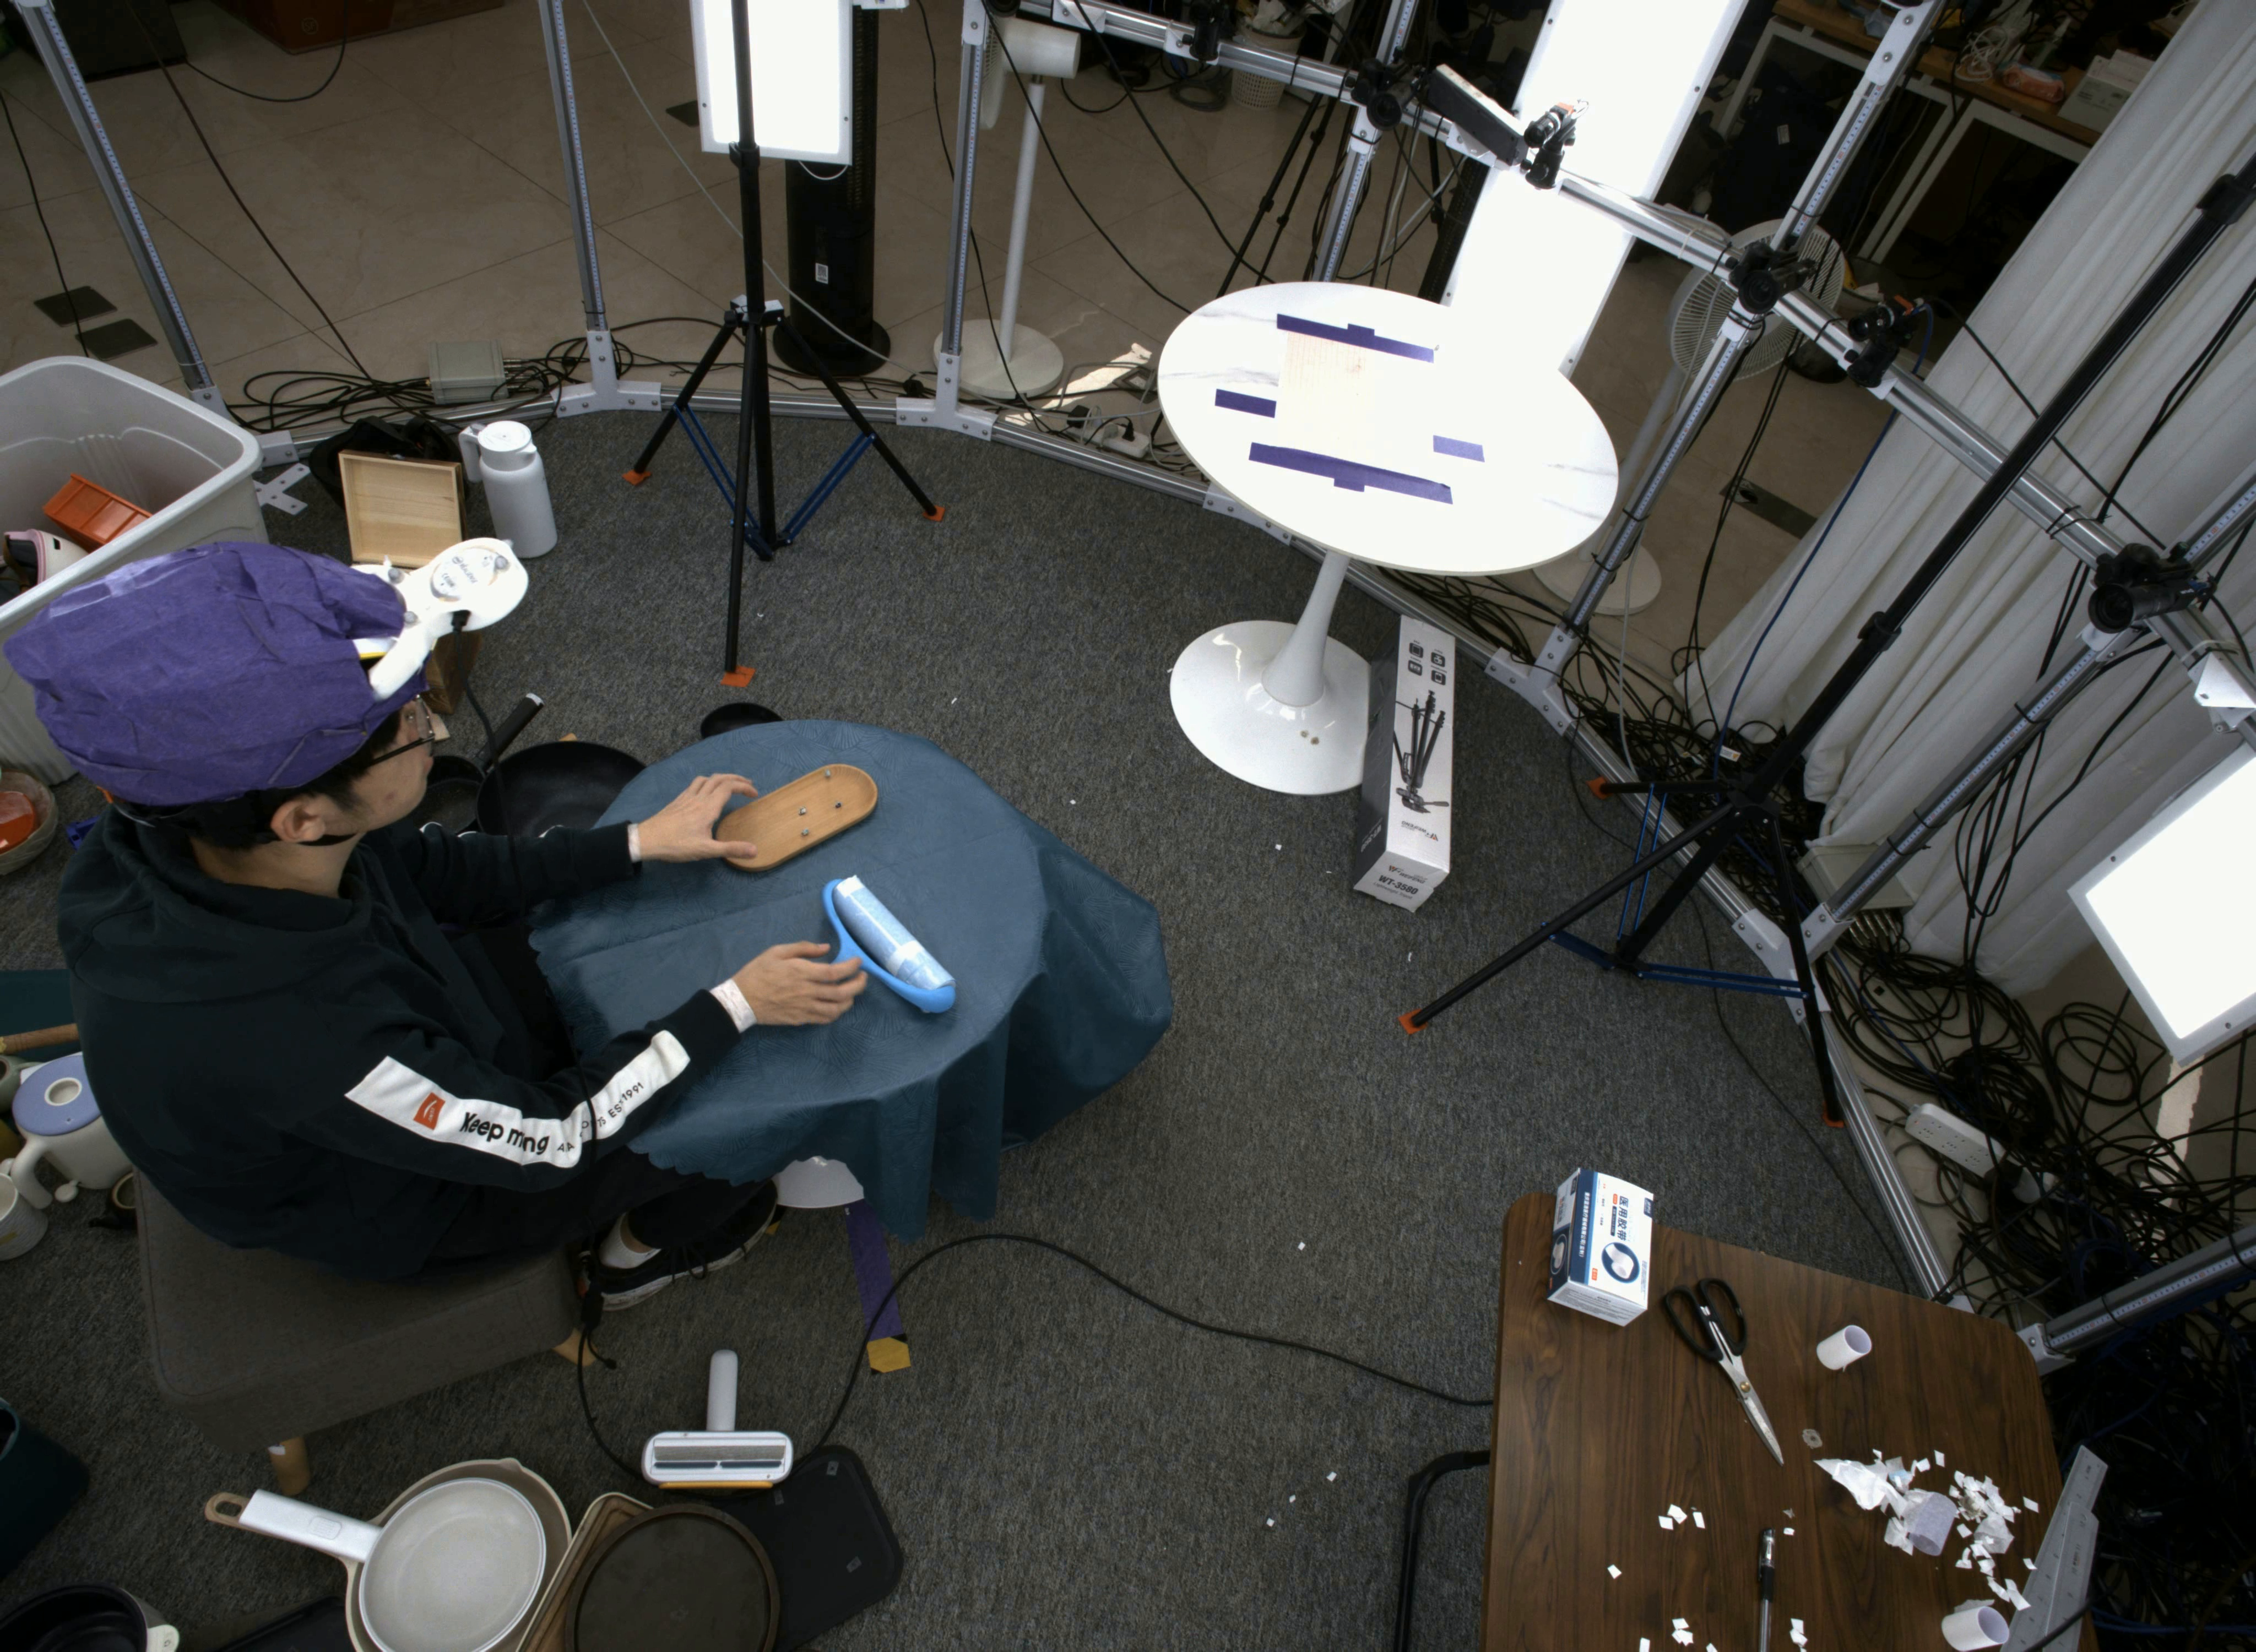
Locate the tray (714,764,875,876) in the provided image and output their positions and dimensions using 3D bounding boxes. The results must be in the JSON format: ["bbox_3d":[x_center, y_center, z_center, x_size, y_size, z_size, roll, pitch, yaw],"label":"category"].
[{"bbox_3d":[-0.441,-0.010,1.723,0.232,0.021,0.099,-34,67,-31],"label":"tray"}]

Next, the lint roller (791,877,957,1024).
[{"bbox_3d":[-0.336,0.172,1.589,0.224,0.069,0.180,41,54,15],"label":"lint roller"}]
